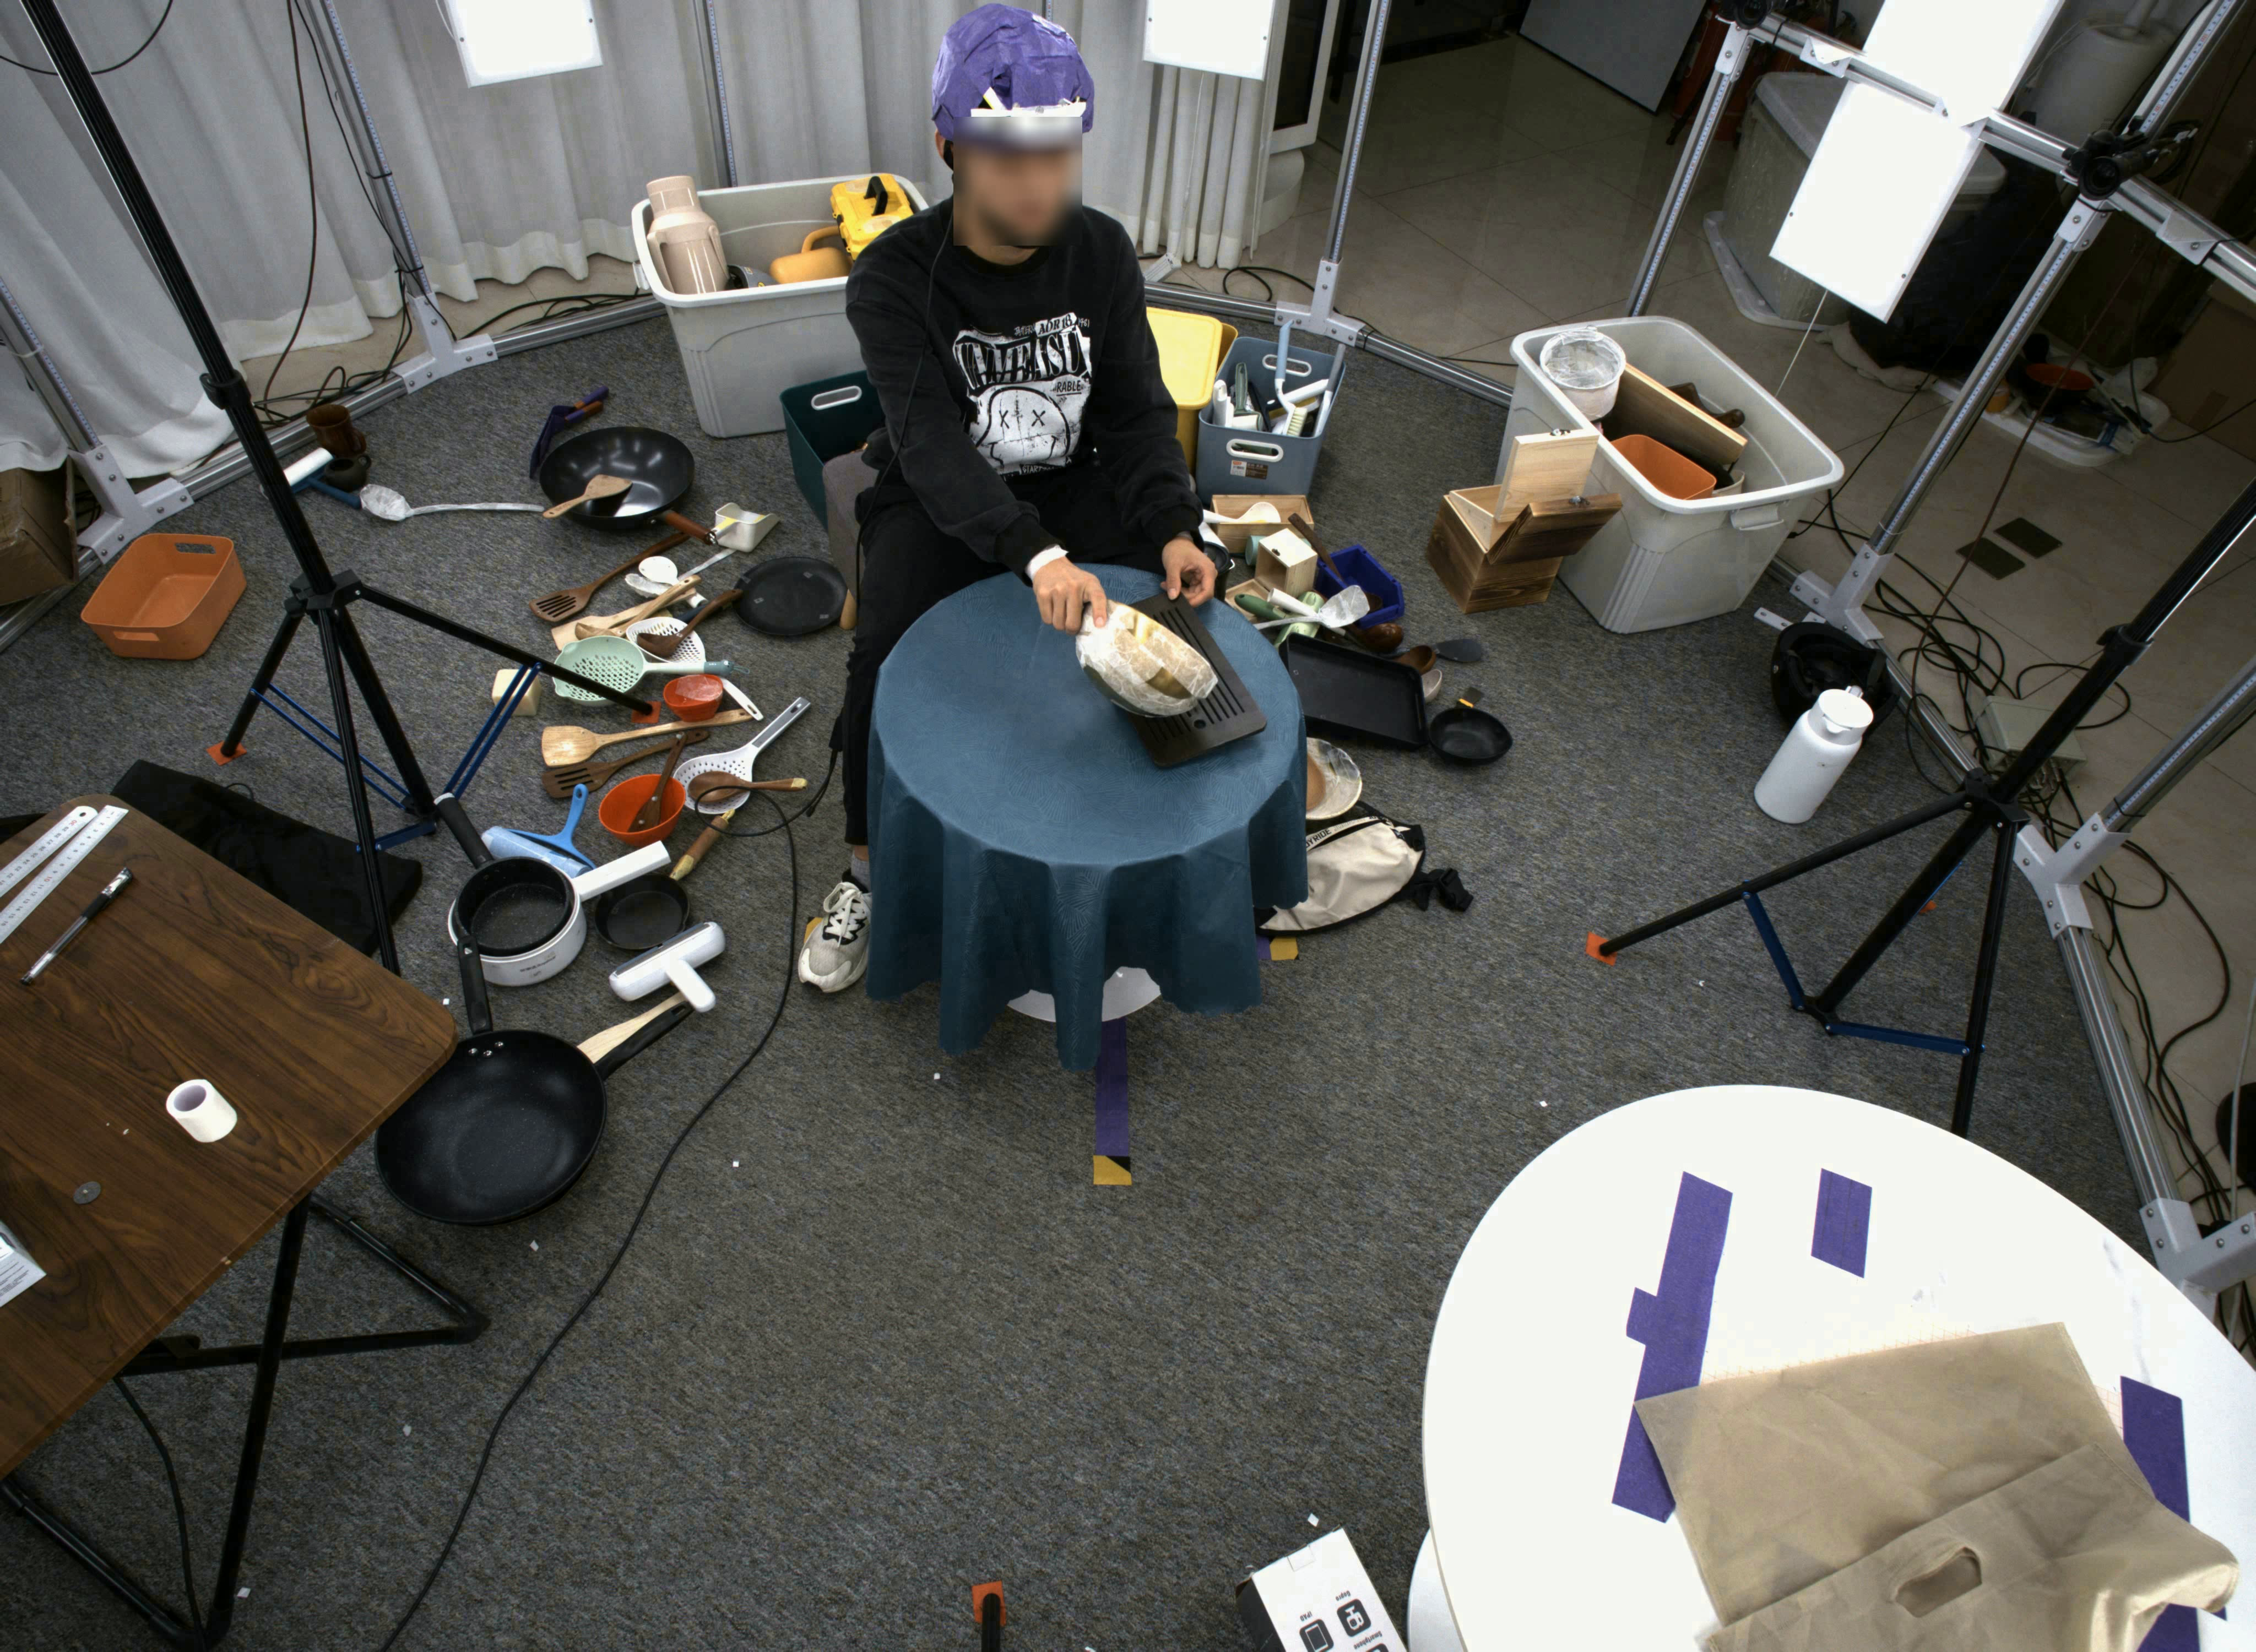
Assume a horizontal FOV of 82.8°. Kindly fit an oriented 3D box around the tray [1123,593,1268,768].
[{"bbox_3d":[0.062,-0.214,1.850,0.170,0.018,0.313,-20,53,-11],"label":"tray"}]

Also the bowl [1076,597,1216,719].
[{"bbox_3d":[0.006,-0.205,1.704,0.217,0.211,0.095,30,84,20],"label":"bowl"}]
